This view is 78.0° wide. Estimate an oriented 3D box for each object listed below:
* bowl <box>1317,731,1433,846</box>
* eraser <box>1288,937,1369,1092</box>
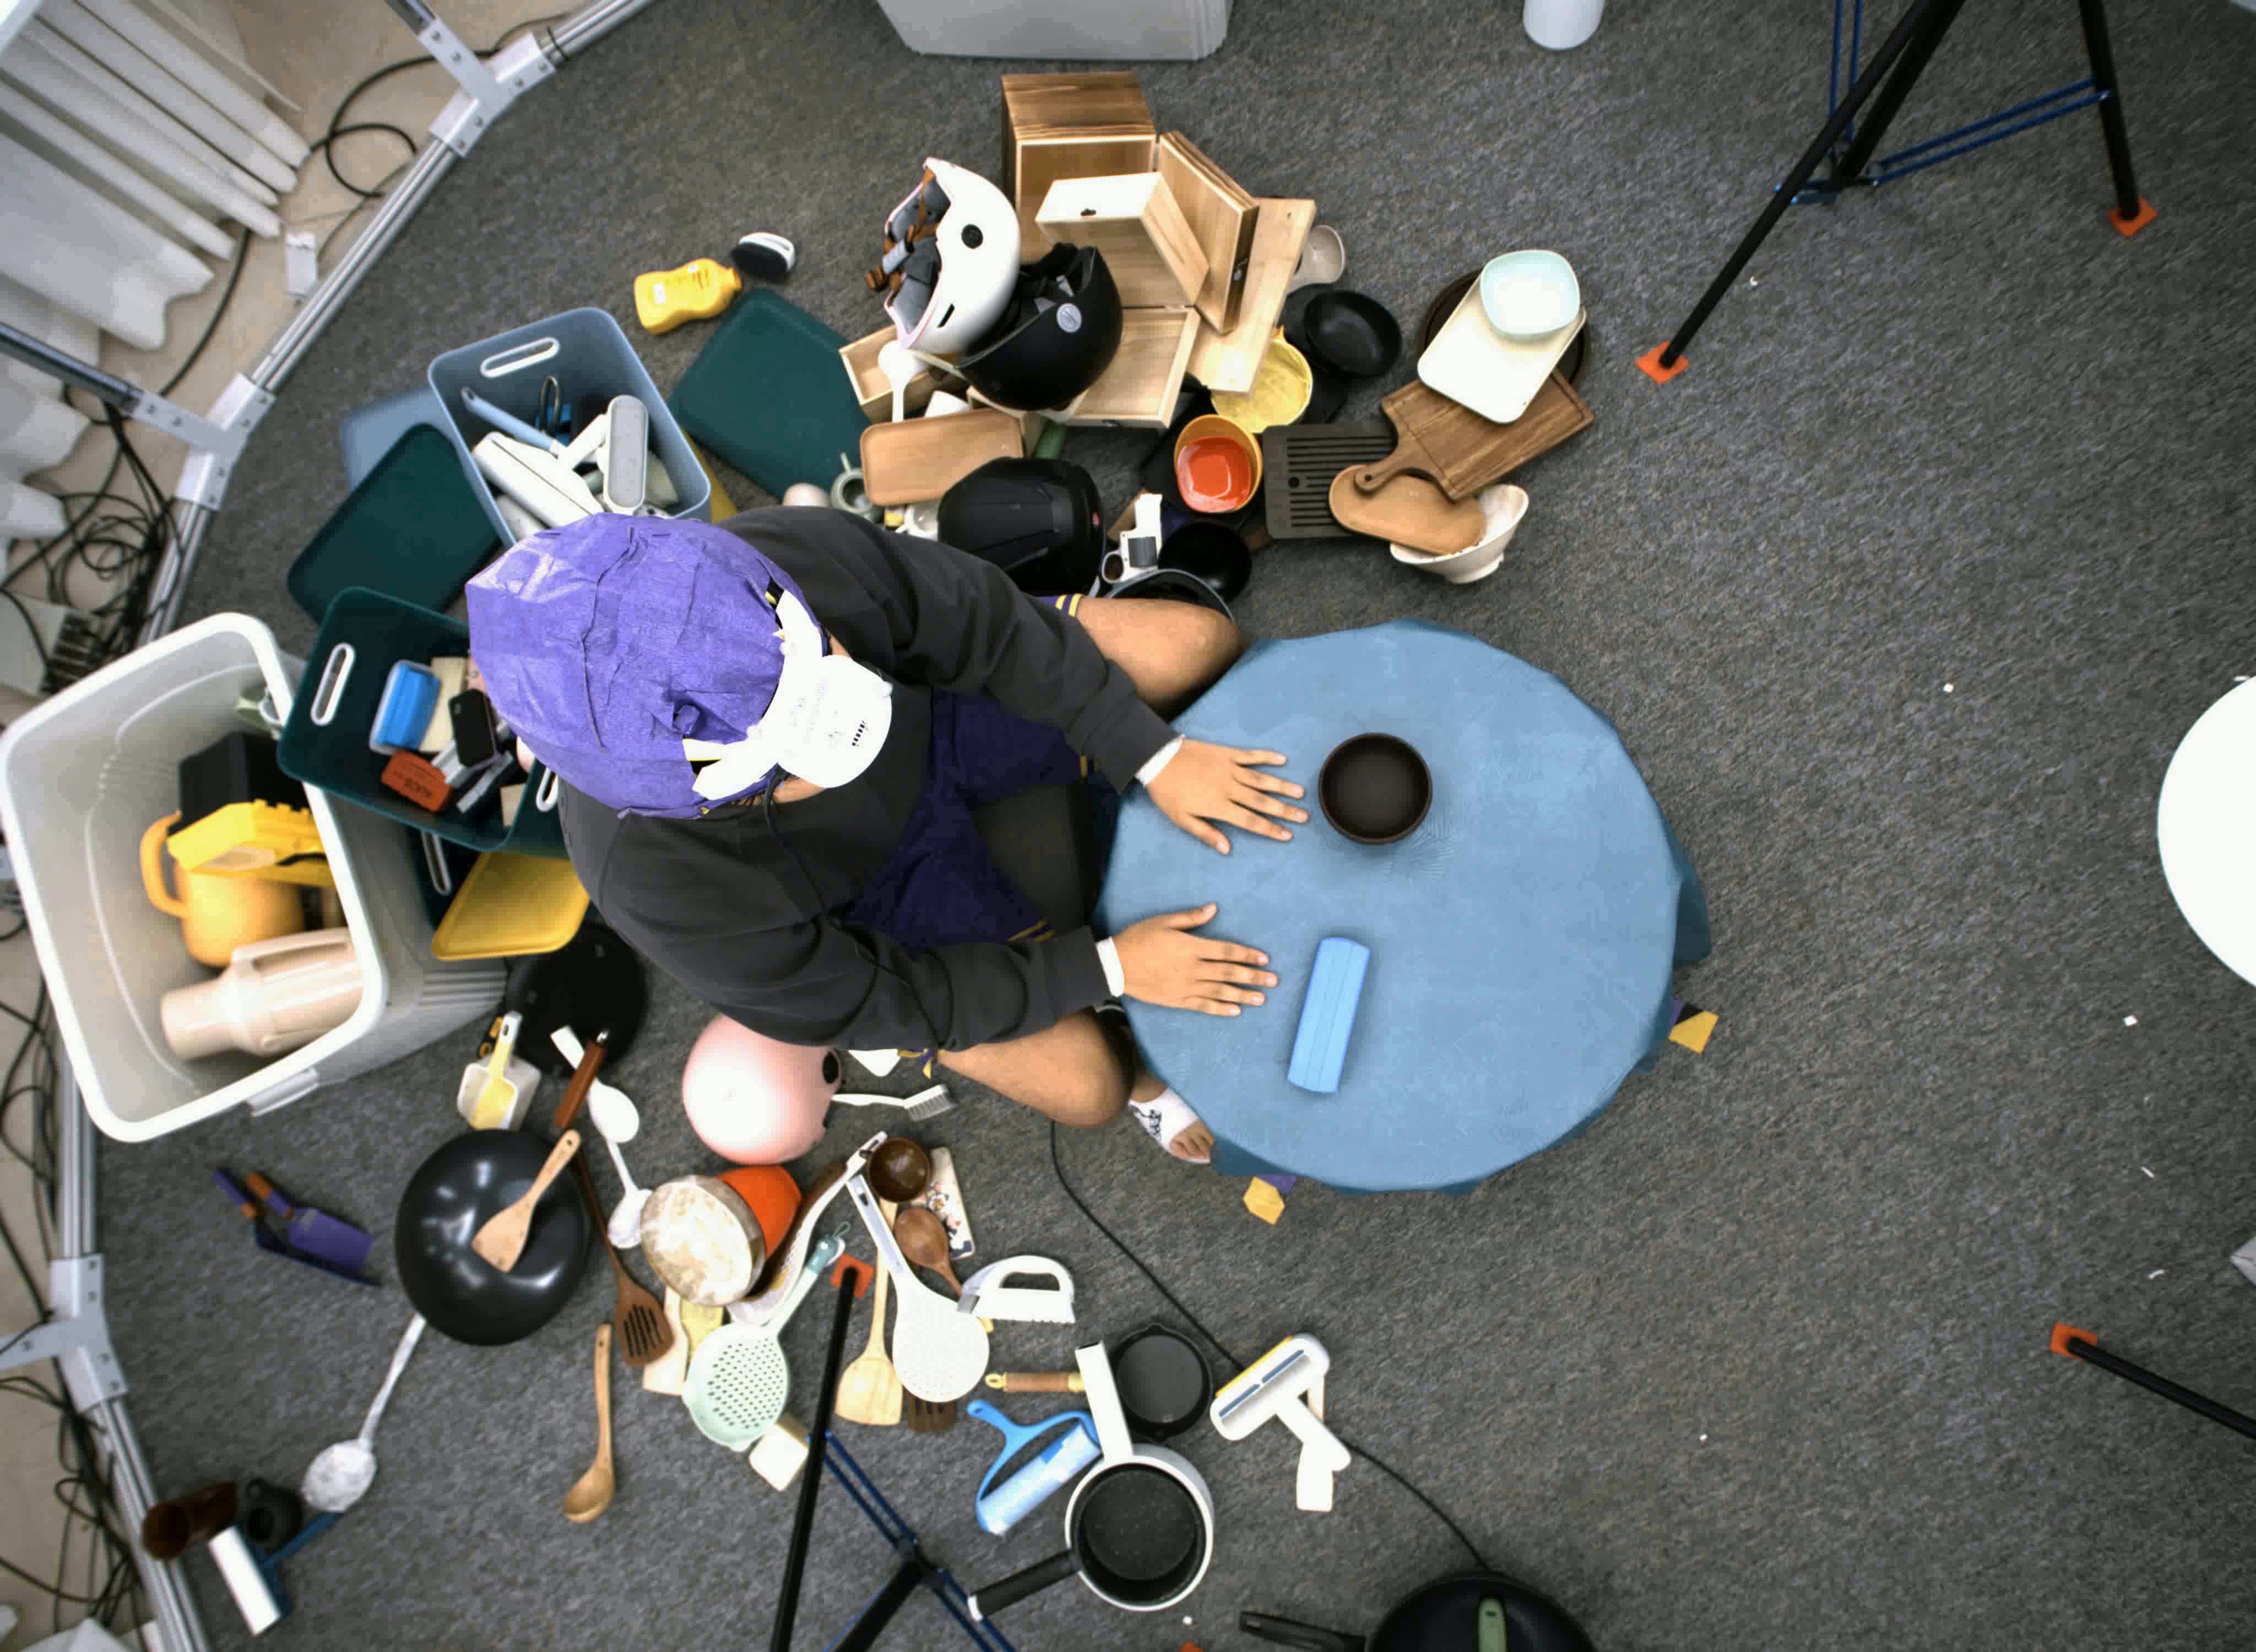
[{"bbox_3d":[0.256,-0.038,1.430,0.118,0.070,0.117,-1,87,11],"label":"bowl"},{"bbox_3d":[0.209,0.195,1.440,0.054,0.047,0.162,13,89,10],"label":"eraser"}]
